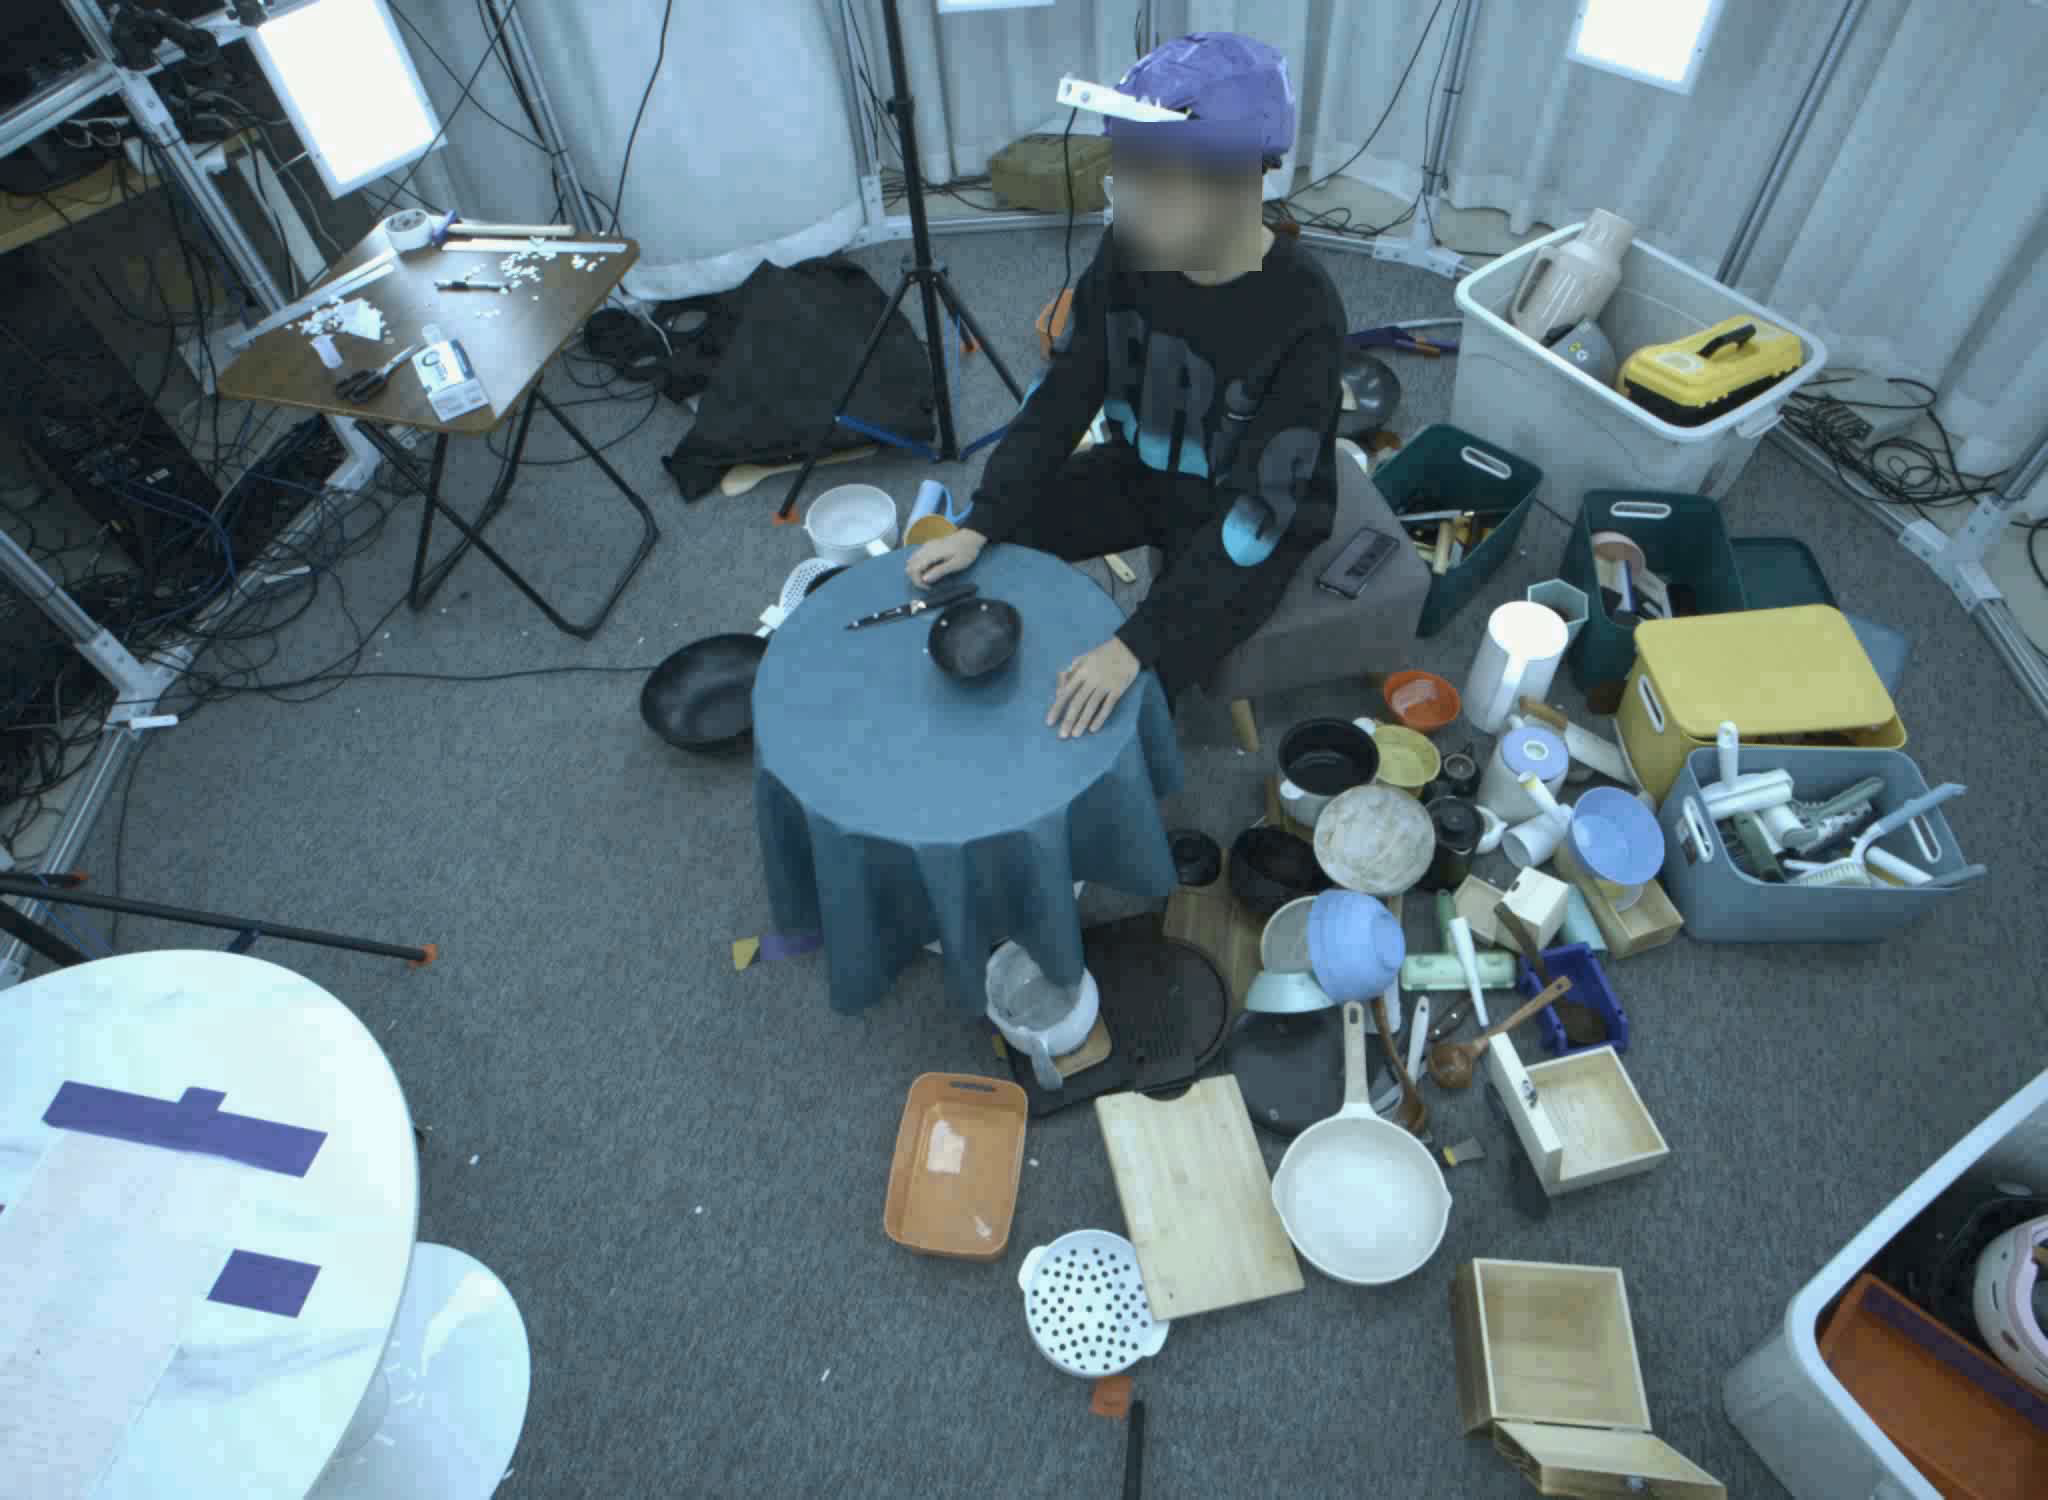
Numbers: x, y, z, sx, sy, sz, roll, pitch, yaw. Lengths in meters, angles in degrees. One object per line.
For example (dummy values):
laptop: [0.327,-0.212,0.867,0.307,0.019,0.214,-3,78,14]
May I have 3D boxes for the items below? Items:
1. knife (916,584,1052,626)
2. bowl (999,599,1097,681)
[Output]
knife: [-0.064,-0.229,1.944,0.226,0.017,0.026,-15,51,-7]
bowl: [0.038,-0.158,1.858,0.135,0.067,0.171,23,57,17]
